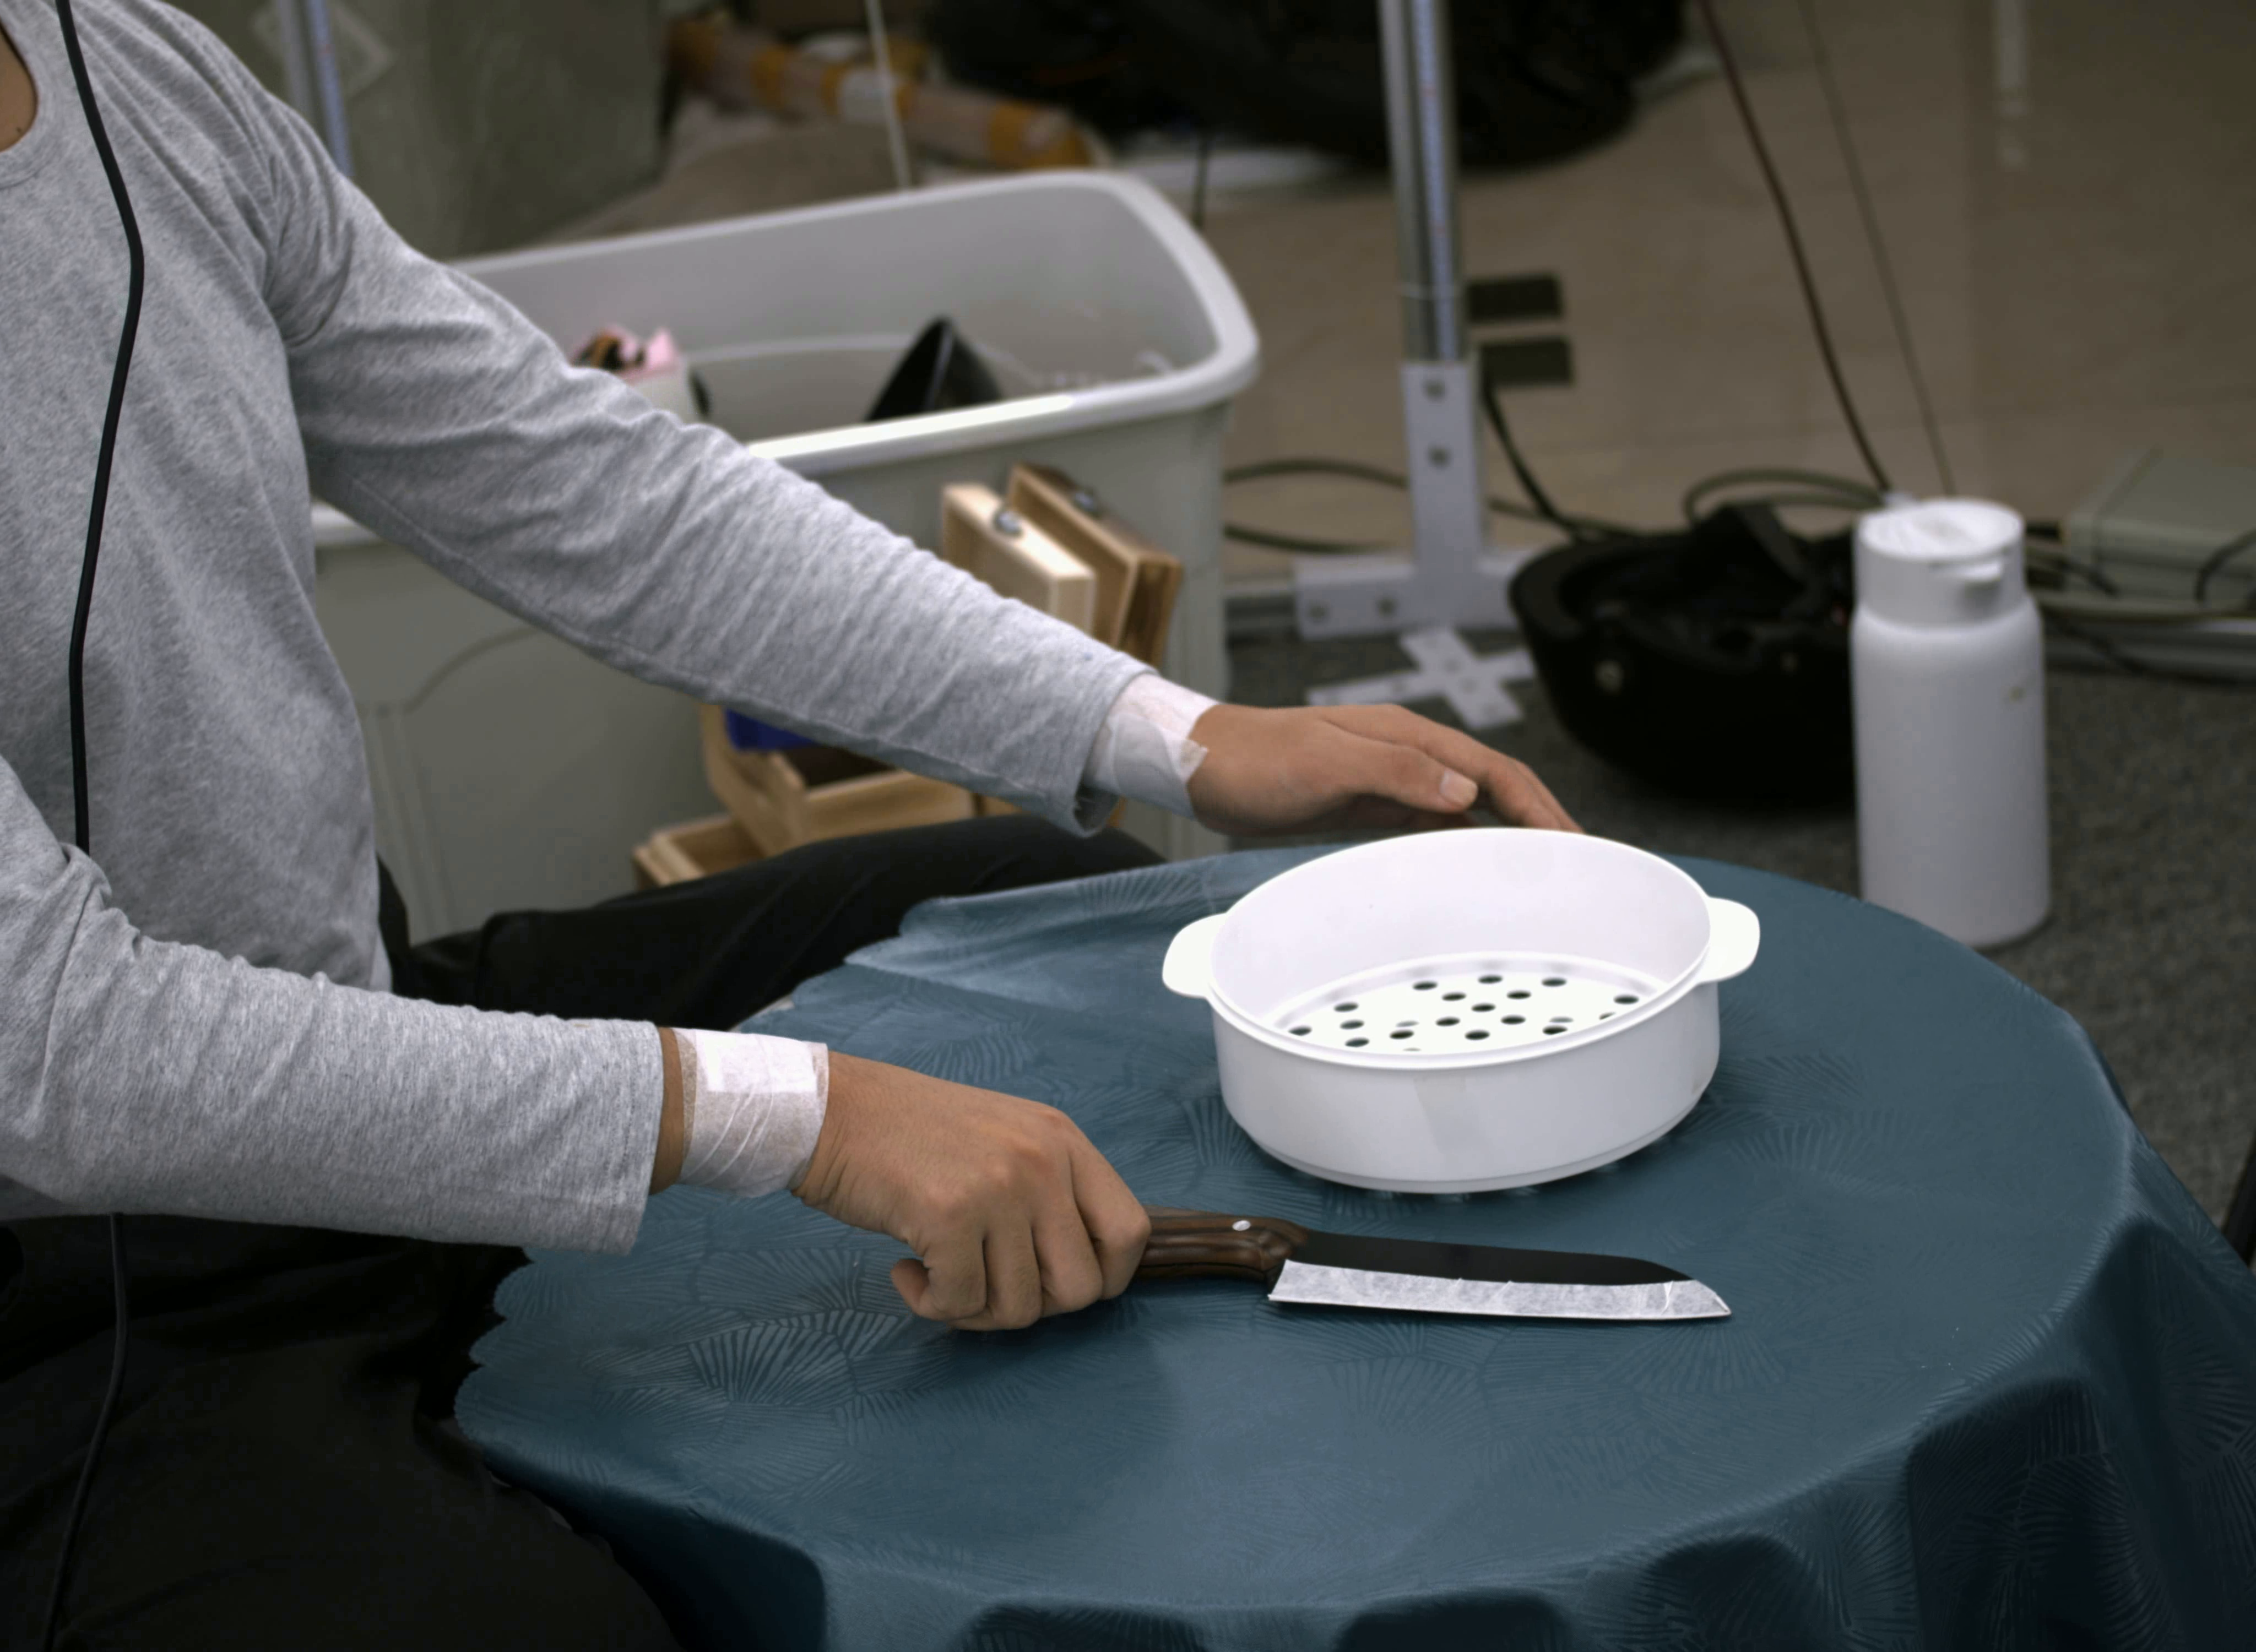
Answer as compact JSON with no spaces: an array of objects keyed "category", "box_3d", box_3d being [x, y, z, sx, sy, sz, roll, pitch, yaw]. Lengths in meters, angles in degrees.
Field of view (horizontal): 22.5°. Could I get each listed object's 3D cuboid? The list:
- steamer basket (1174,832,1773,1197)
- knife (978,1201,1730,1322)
[{"category":"steamer basket","box_3d":[0.135,0.072,2.182,0.230,0.070,0.199,-3,25,11]},{"category":"knife","box_3d":[0.079,0.161,2.067,0.288,0.020,0.049,4,33,19]}]
